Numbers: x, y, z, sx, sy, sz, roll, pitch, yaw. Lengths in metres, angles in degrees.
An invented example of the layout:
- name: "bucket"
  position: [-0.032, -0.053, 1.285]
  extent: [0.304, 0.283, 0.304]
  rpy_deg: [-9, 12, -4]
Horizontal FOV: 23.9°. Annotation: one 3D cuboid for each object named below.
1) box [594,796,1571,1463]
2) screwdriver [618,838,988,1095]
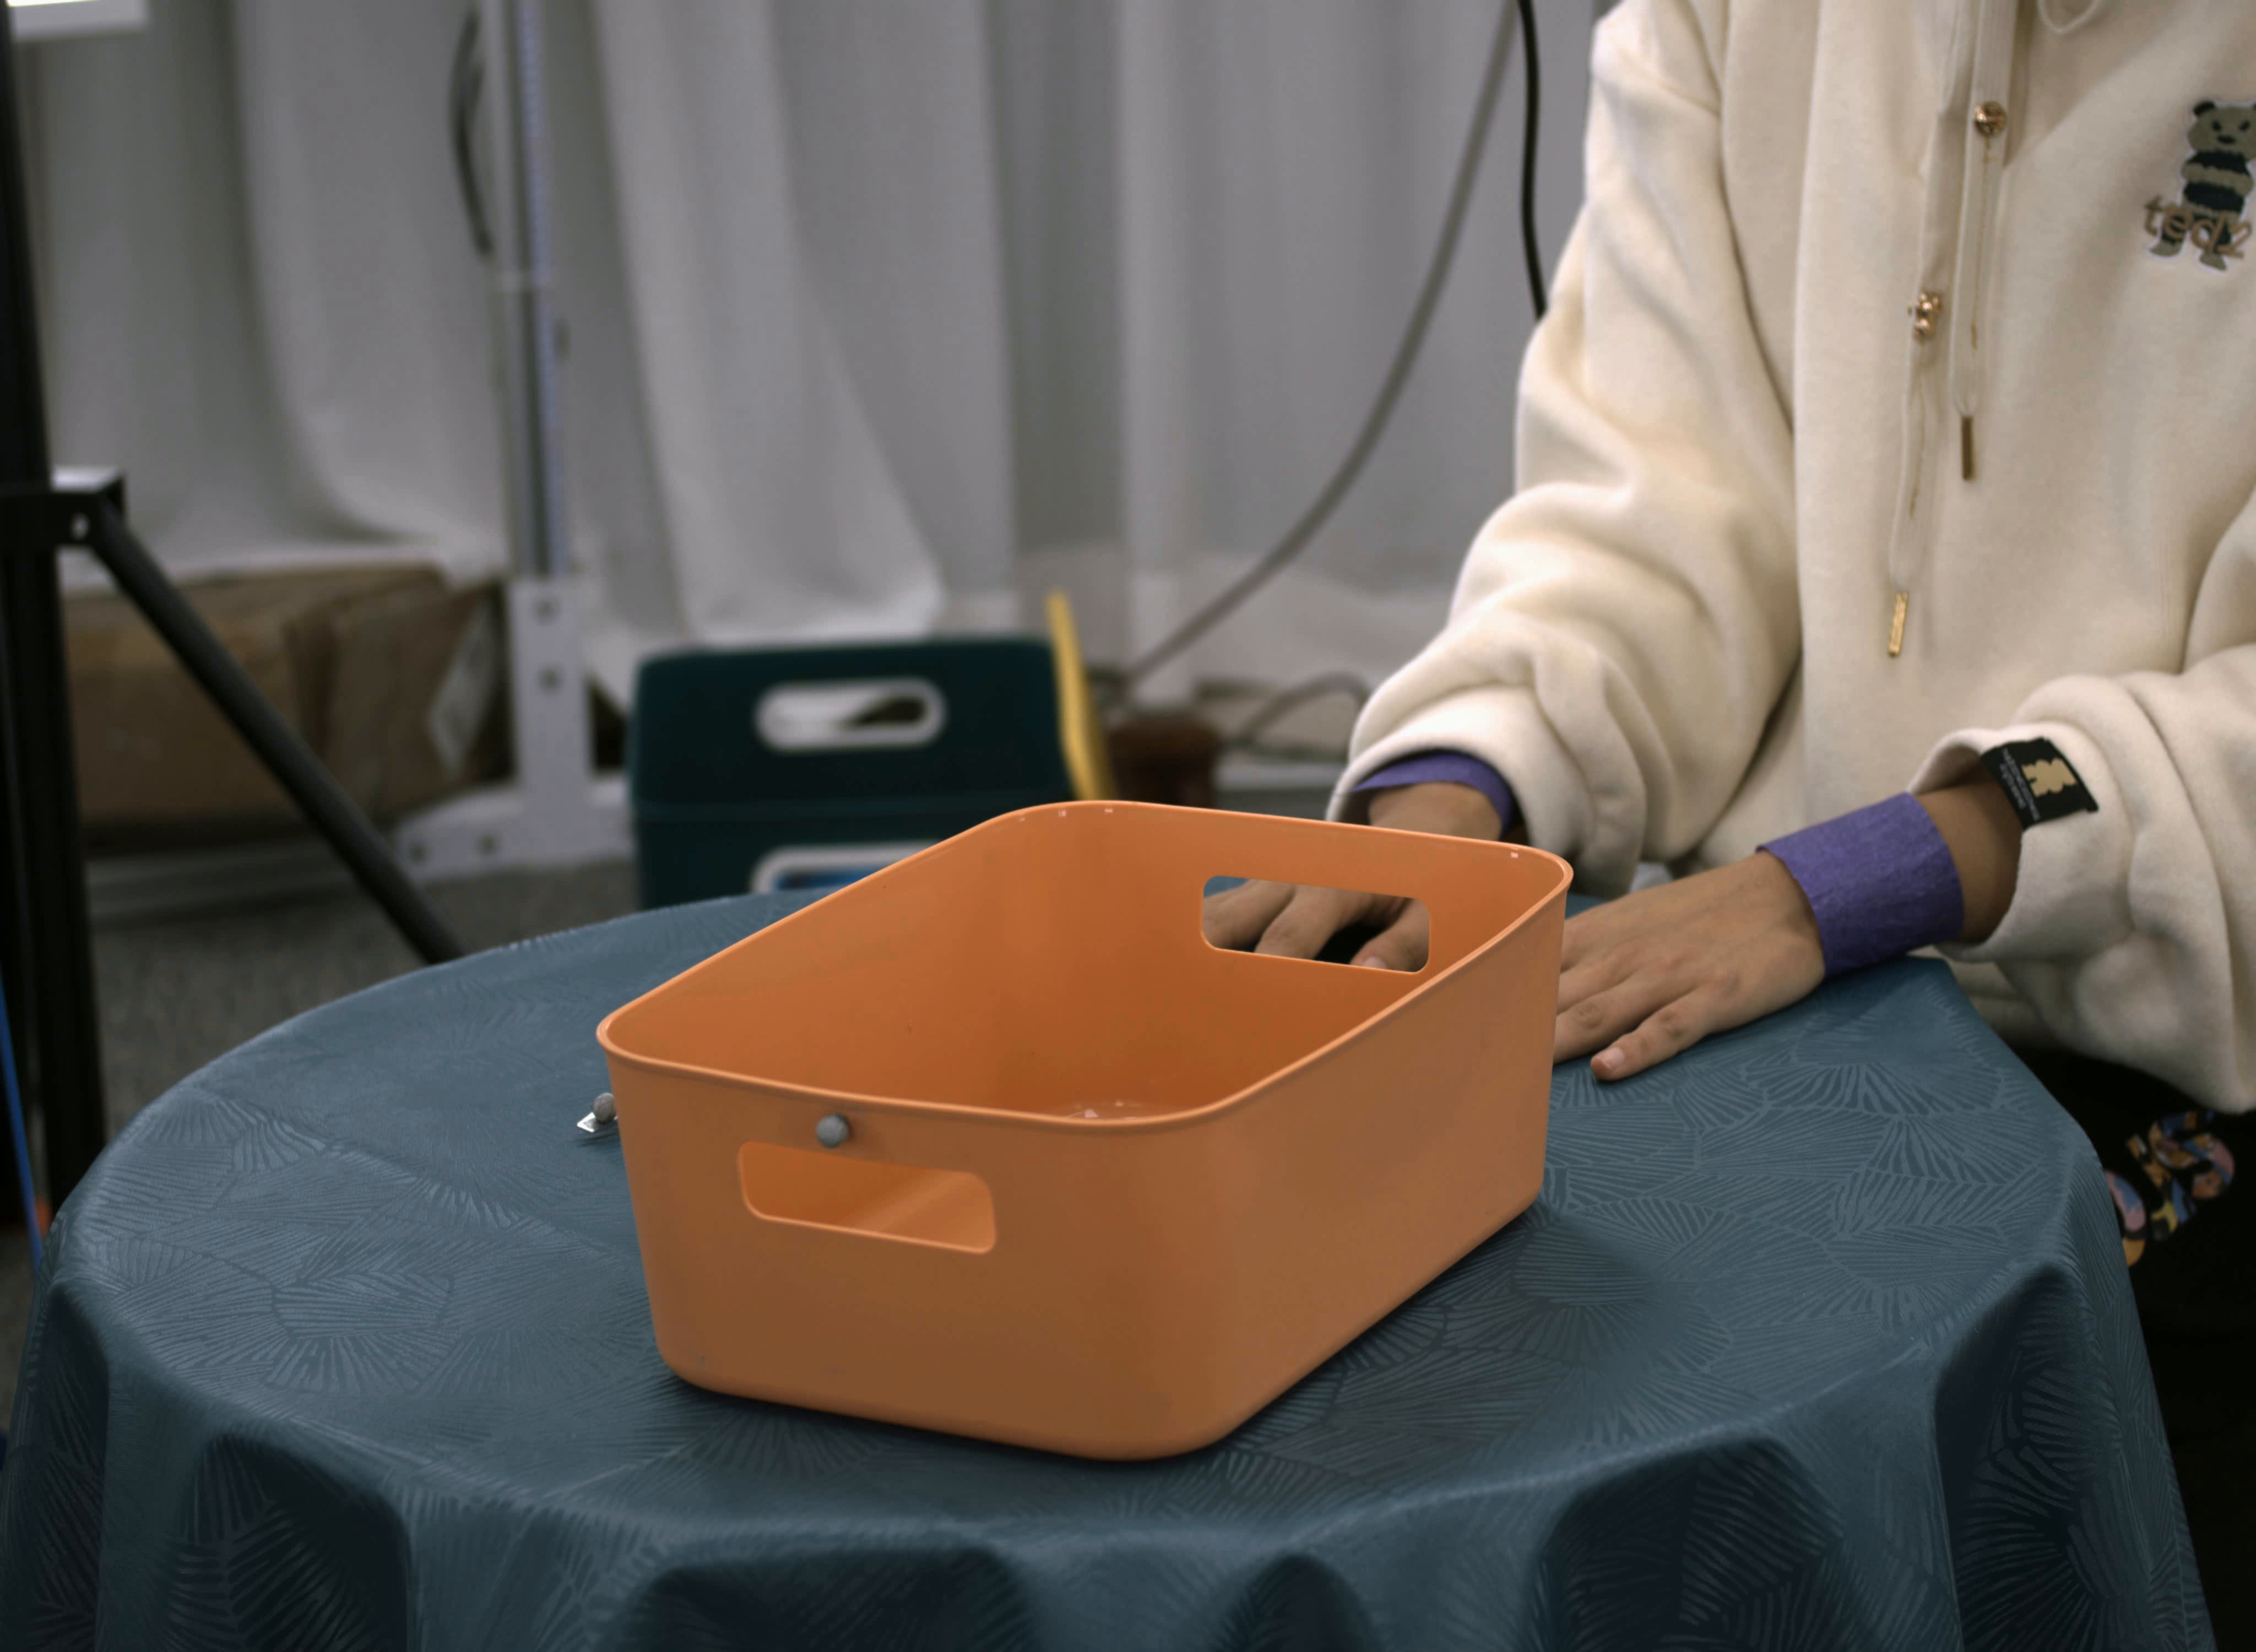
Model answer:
- name: "box"
  position: [-0.004, 0.080, 1.467]
  extent: [0.203, 0.102, 0.268]
  rpy_deg: [5, 18, 29]
- name: "screwdriver"
  position: [-0.098, 0.050, 1.696]
  extent: [0.032, 0.031, 0.195]
  rpy_deg: [7, 28, 31]
